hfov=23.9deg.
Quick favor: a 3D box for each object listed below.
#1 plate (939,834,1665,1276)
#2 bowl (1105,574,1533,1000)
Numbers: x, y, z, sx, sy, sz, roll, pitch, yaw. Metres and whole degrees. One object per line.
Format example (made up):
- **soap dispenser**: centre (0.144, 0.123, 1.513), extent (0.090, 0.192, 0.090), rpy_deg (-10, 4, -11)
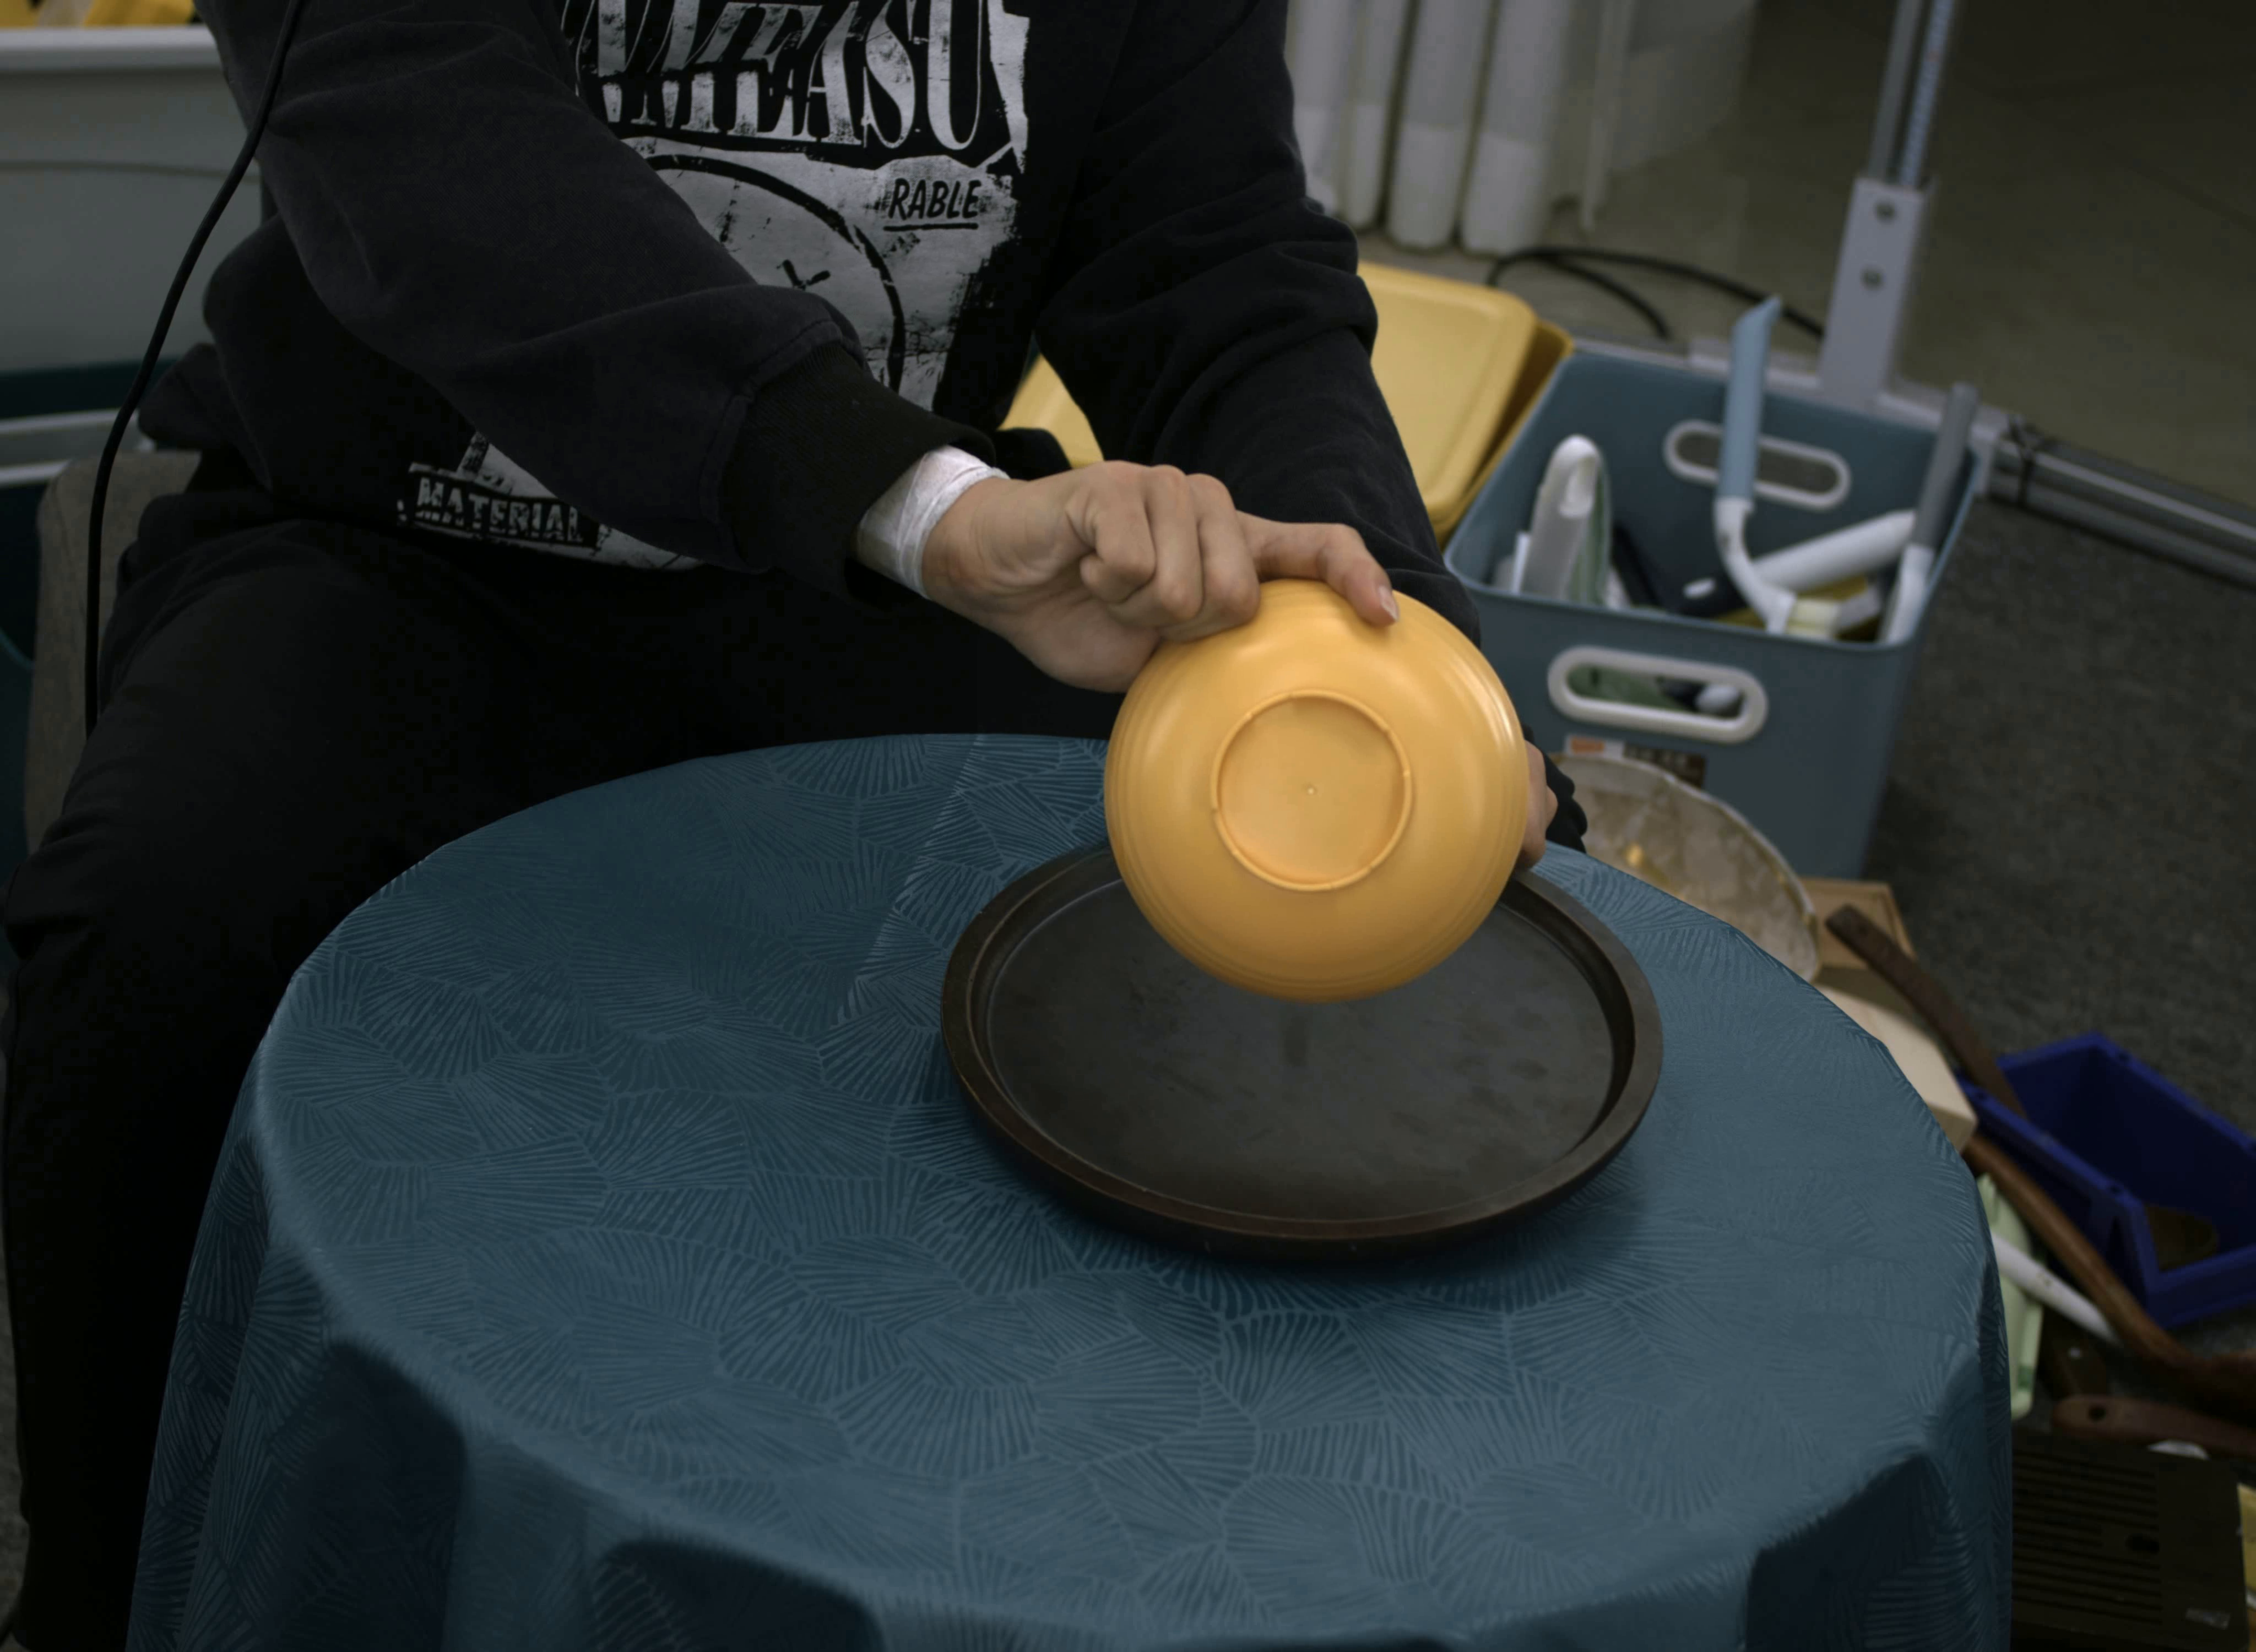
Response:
- **plate**: centre (0.060, 0.073, 1.856), extent (0.254, 0.029, 0.256), rpy_deg (0, 34, 0)
- **bowl**: centre (0.064, -0.013, 1.766), extent (0.145, 0.145, 0.060), rpy_deg (8, 0, 2)
